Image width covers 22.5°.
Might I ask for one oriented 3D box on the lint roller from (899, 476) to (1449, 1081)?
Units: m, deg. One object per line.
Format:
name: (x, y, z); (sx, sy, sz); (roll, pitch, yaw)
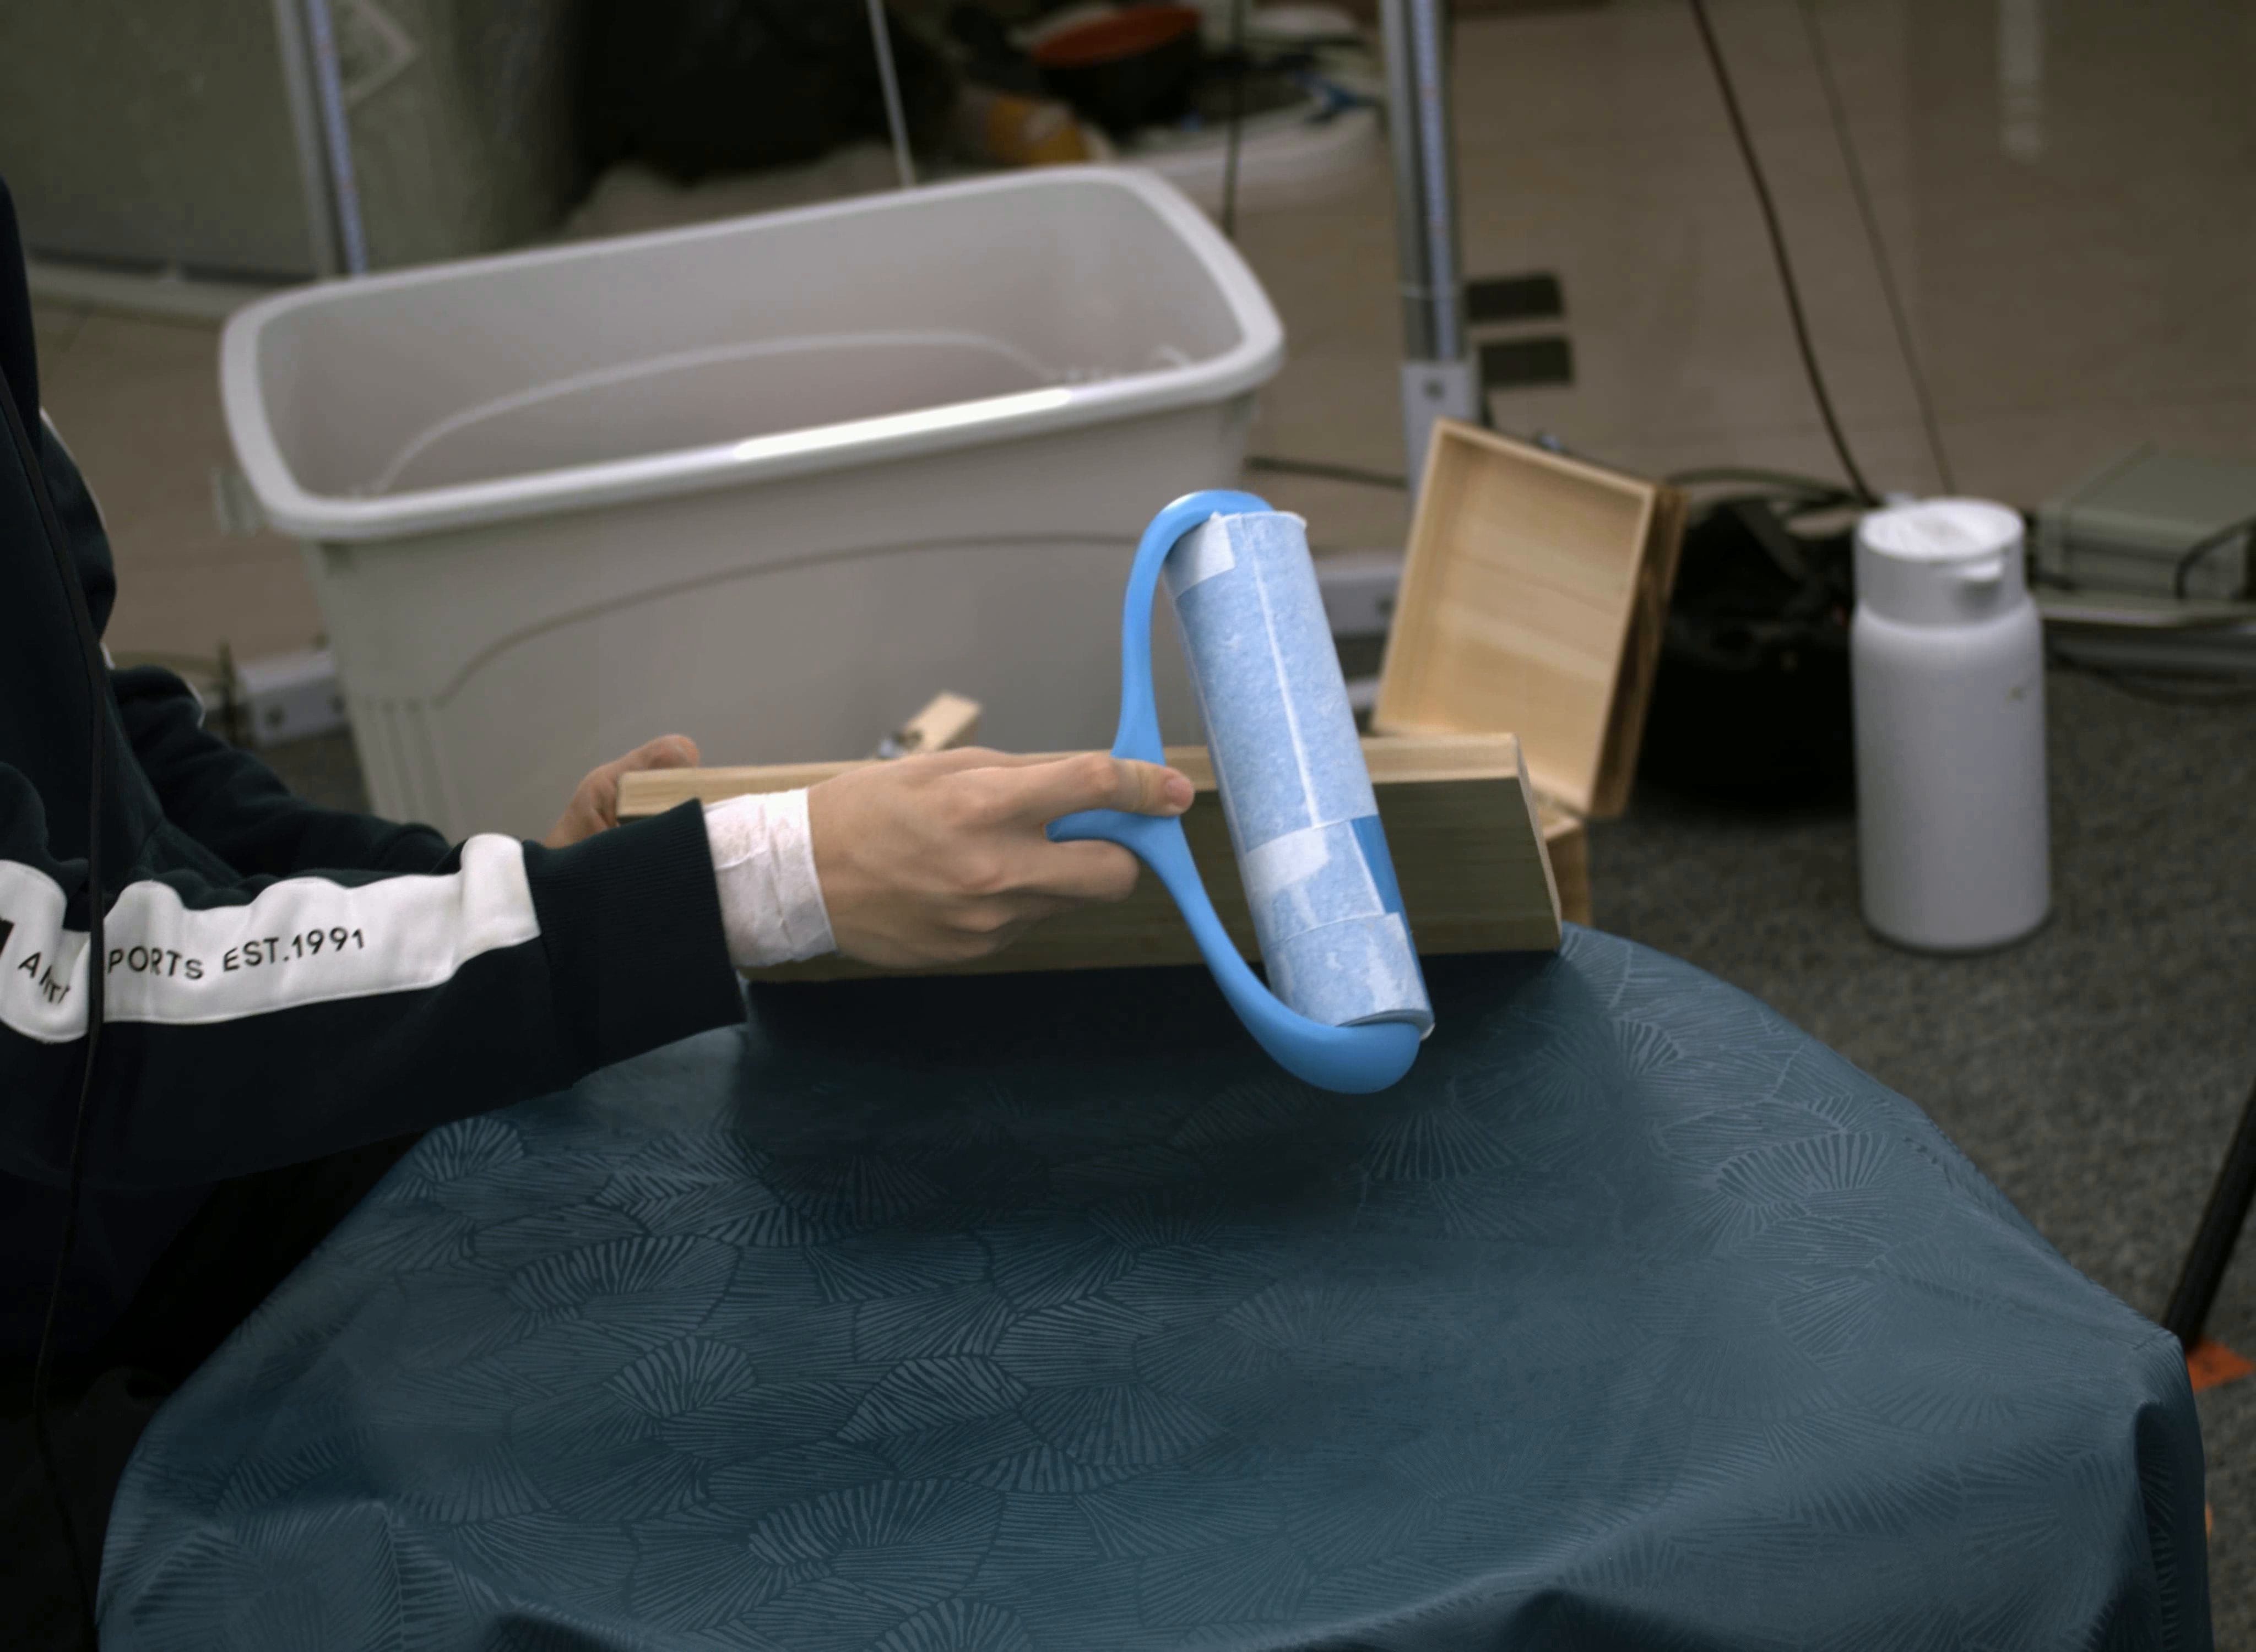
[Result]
lint roller: (0.006, -0.002, 2.007); (0.180, 0.227, 0.068); (-17, -13, -3)

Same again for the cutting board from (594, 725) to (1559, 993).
cutting board: (-0.013, 0.015, 2.204); (0.348, 0.023, 0.253); (-2, -17, 7)
